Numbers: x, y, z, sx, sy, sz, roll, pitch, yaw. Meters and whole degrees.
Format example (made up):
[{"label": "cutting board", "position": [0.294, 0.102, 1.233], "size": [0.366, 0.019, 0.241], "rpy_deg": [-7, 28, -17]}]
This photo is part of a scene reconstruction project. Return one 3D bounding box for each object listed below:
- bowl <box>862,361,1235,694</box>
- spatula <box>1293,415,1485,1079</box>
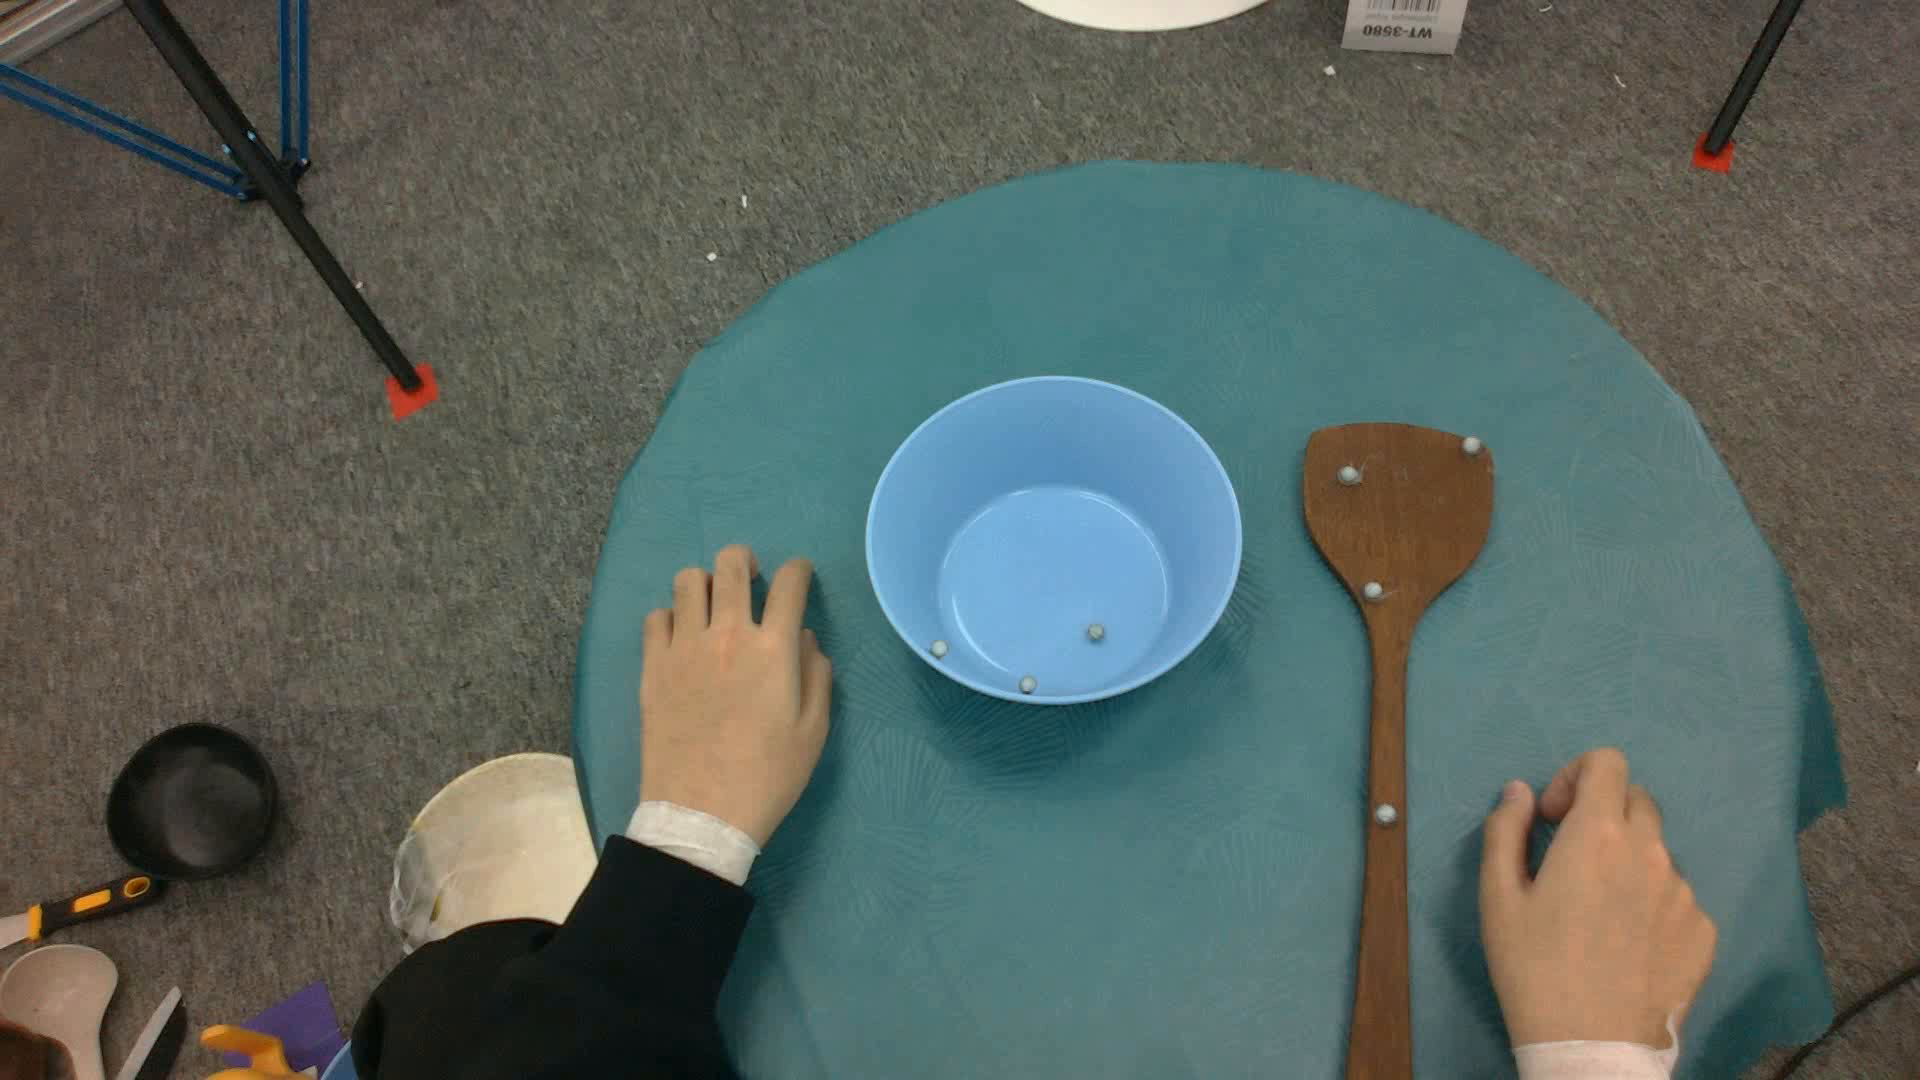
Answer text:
[{"label": "bowl", "position": [0.043, 0.003, 0.673], "size": [0.176, 0.070, 0.177], "rpy_deg": [-2, 62, 4]}, {"label": "spatula", "position": [0.195, 0.104, 0.638], "size": [0.096, 0.016, 0.387], "rpy_deg": [6, 62, 8]}]
